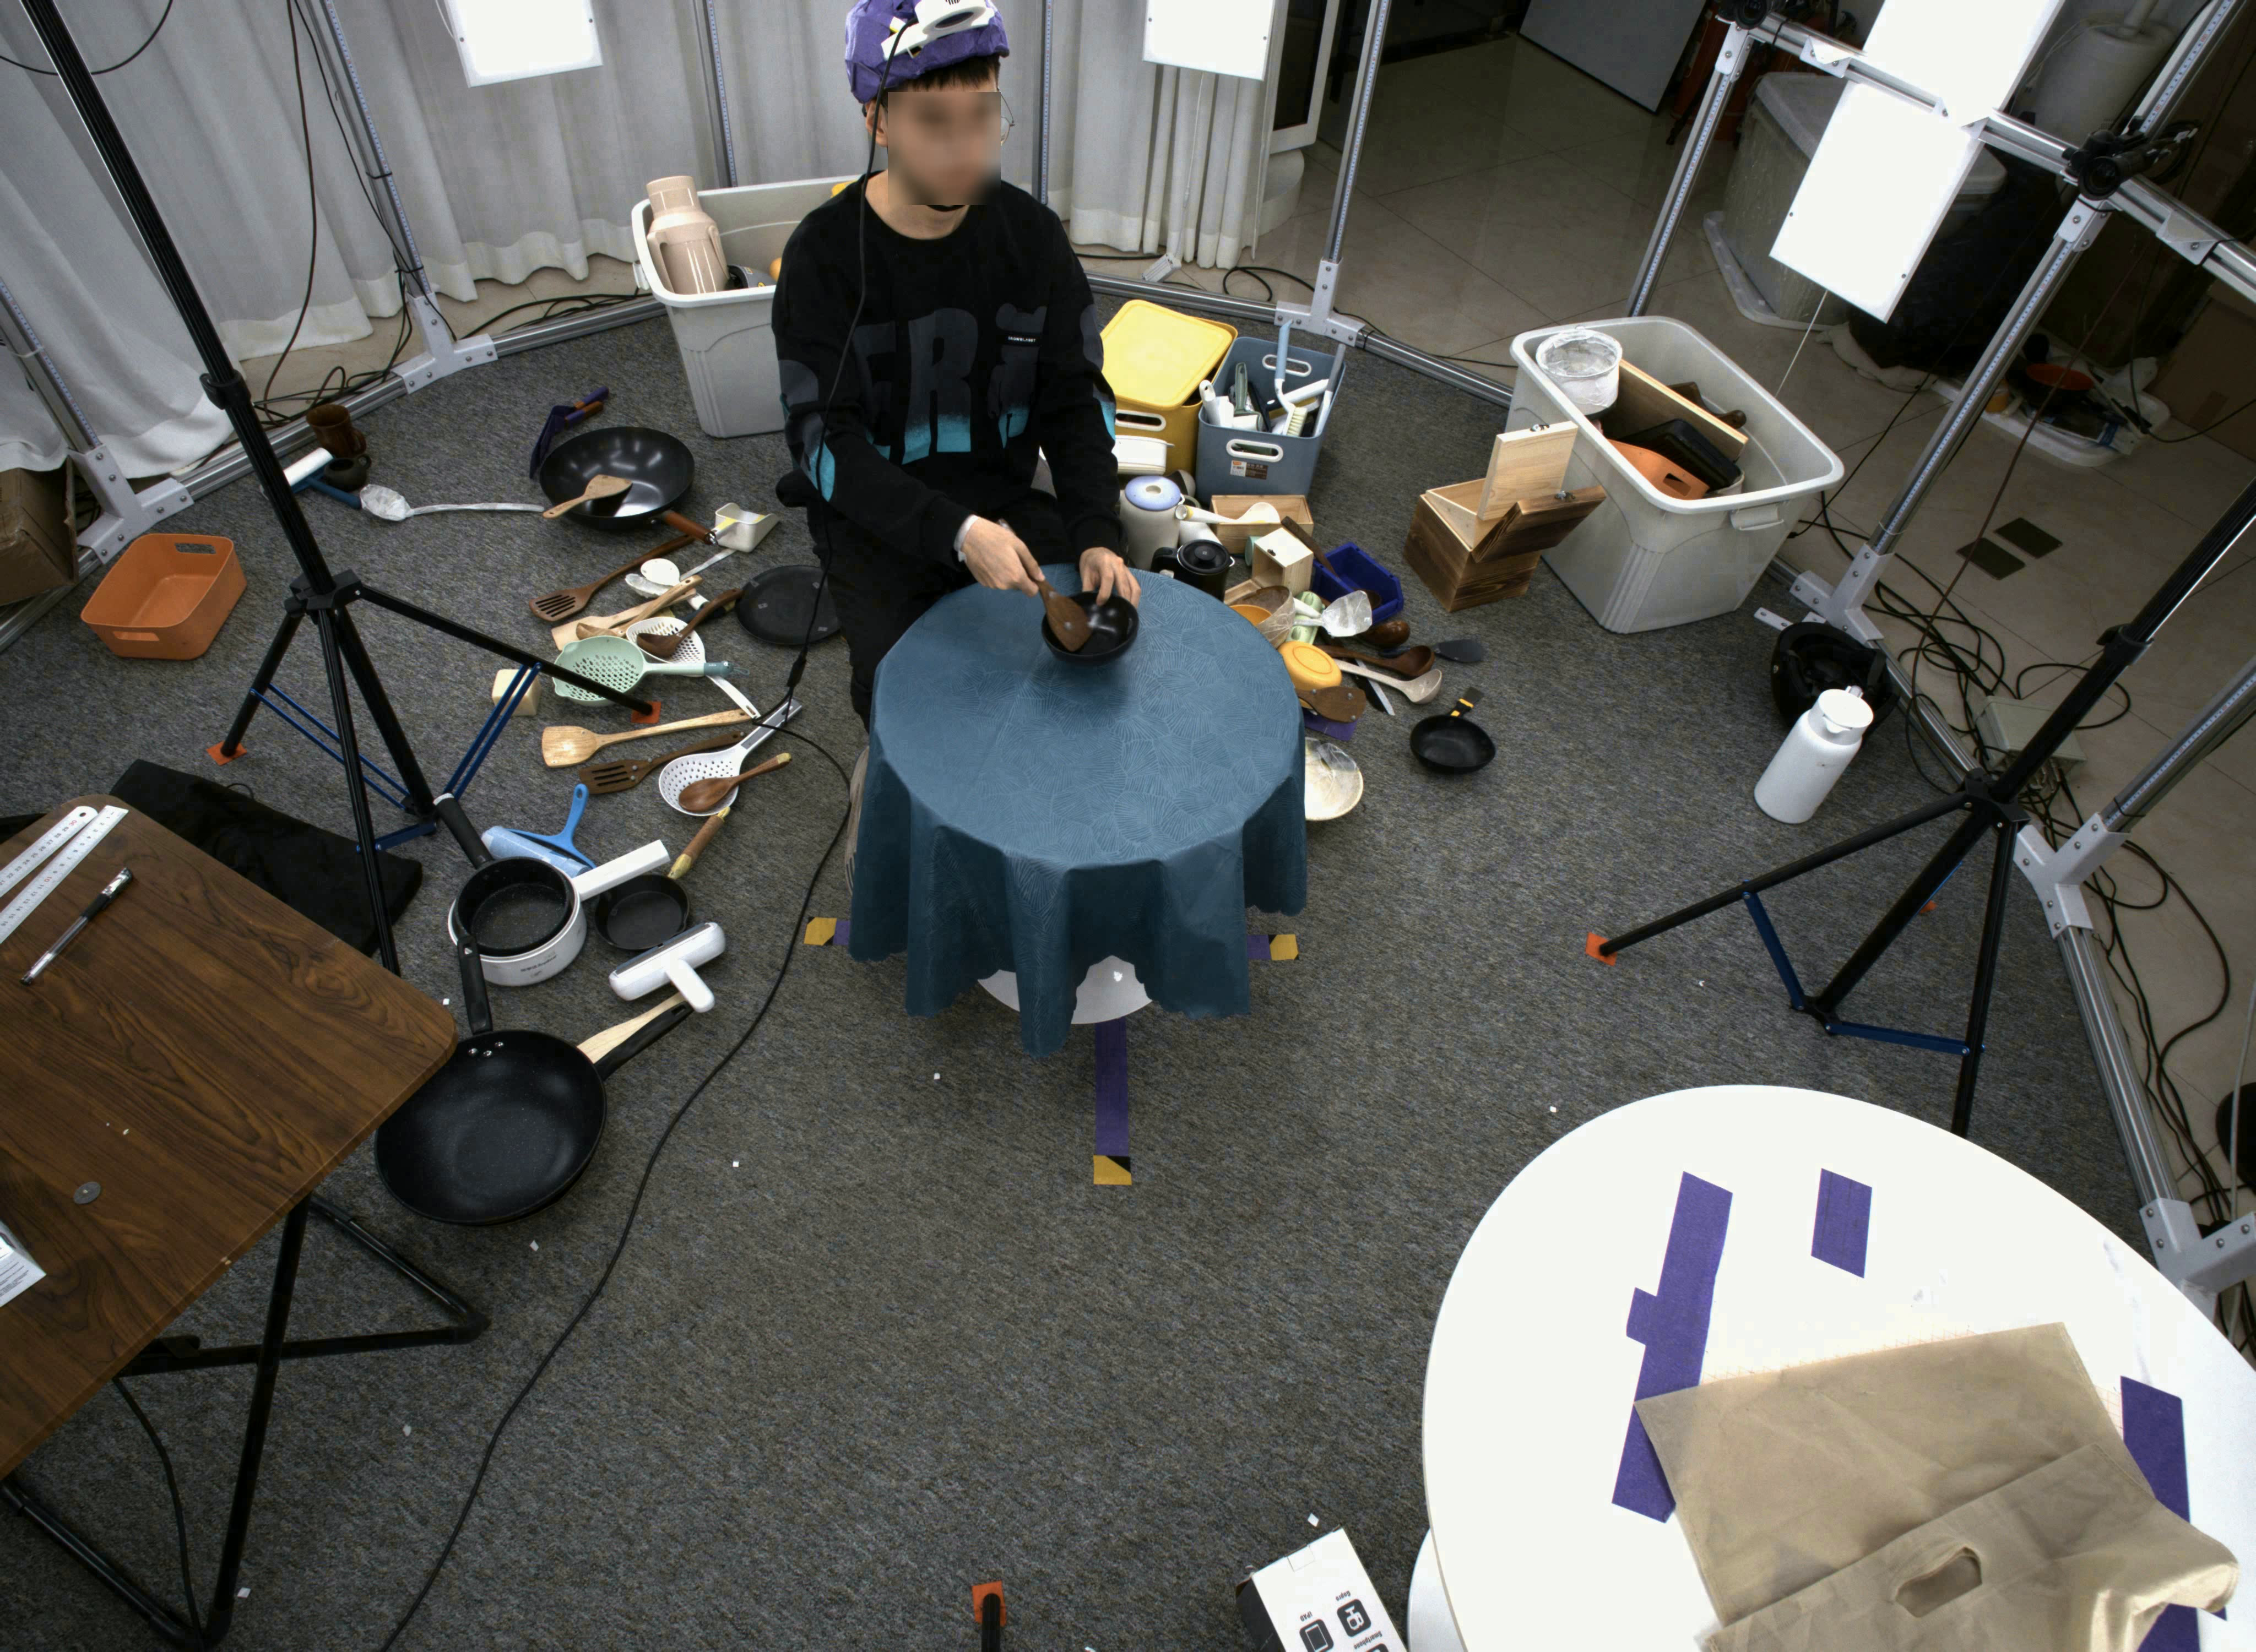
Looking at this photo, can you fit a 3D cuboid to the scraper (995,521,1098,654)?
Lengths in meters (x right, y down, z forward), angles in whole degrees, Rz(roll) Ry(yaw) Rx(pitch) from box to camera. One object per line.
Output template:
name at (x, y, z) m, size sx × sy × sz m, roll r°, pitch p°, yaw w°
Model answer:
scraper at (-0.120, -0.344, 1.837) m, size 0.209 × 0.011 × 0.077 m, roll 53°, pitch 50°, yaw -15°

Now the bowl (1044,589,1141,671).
bowl at (-0.050, -0.272, 1.842) m, size 0.140 × 0.048 × 0.143 m, roll 0°, pitch 55°, yaw -1°
